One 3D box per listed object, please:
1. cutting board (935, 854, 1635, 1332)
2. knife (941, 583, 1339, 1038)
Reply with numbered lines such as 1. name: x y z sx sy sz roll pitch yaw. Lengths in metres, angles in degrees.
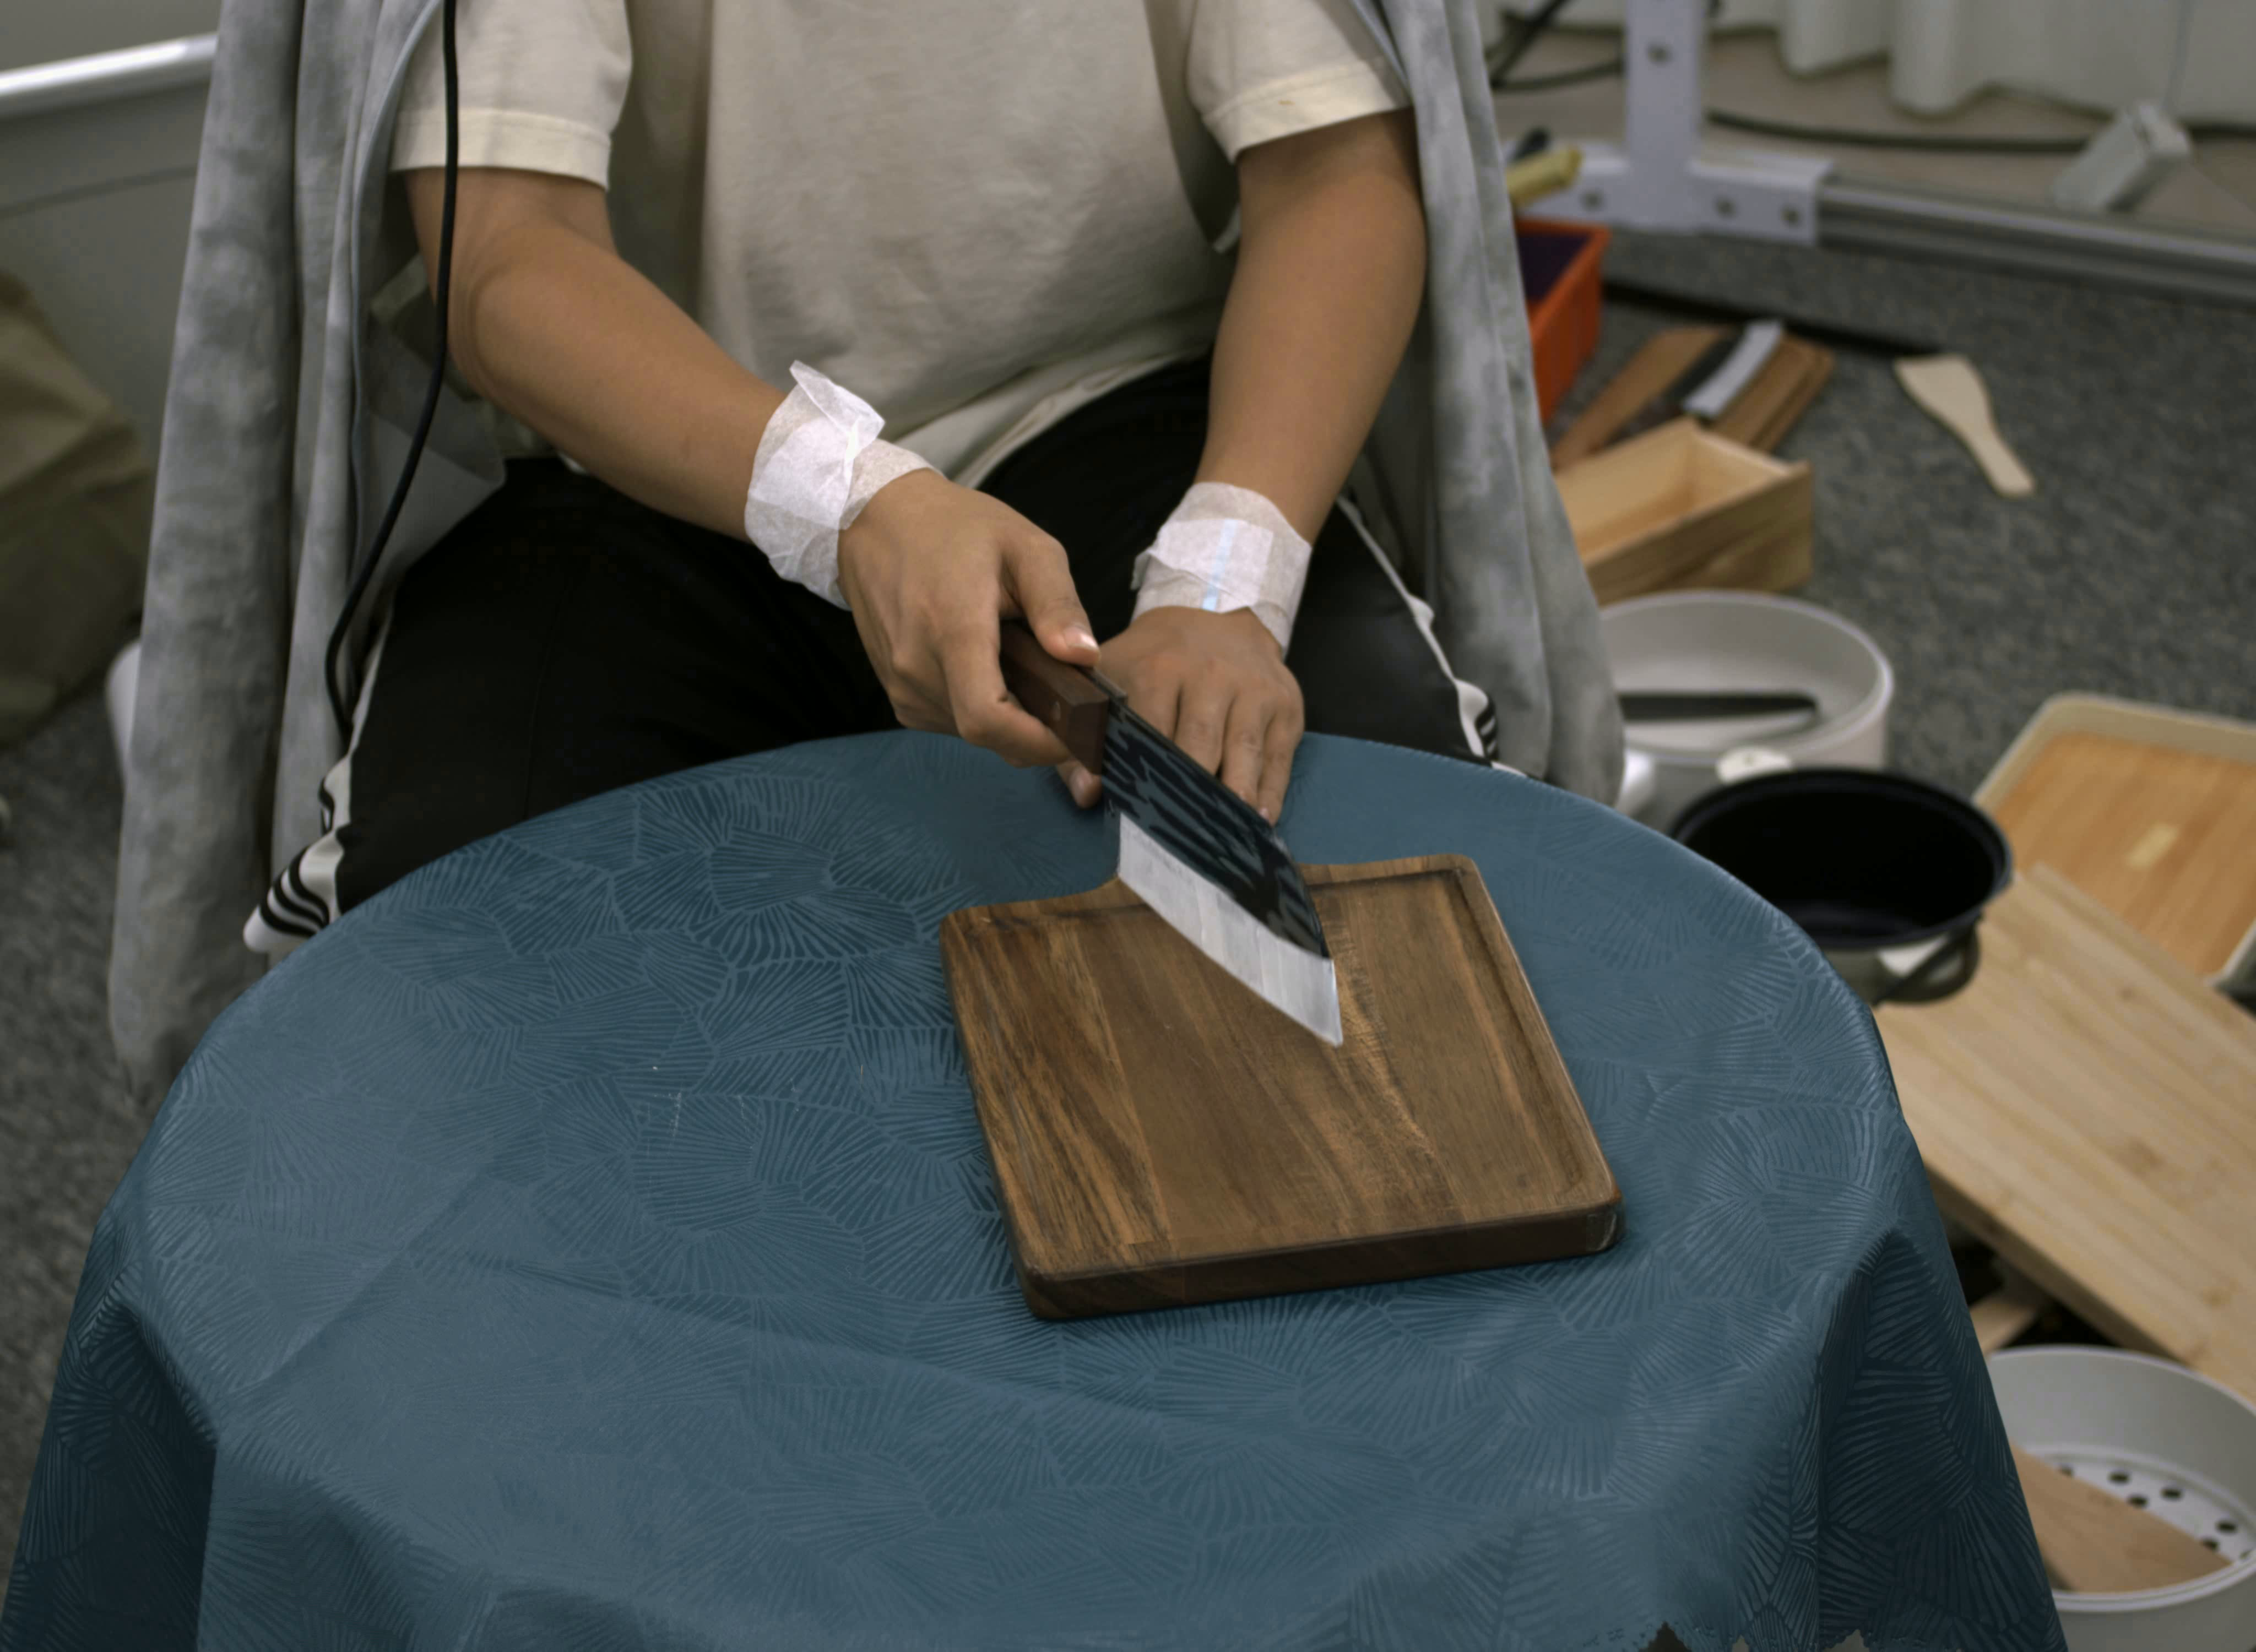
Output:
1. cutting board: 0.040 0.064 1.951 0.200 0.023 0.356 -8 27 -6
2. knife: 0.004 -0.008 1.954 0.024 0.067 0.301 -9 26 -25
